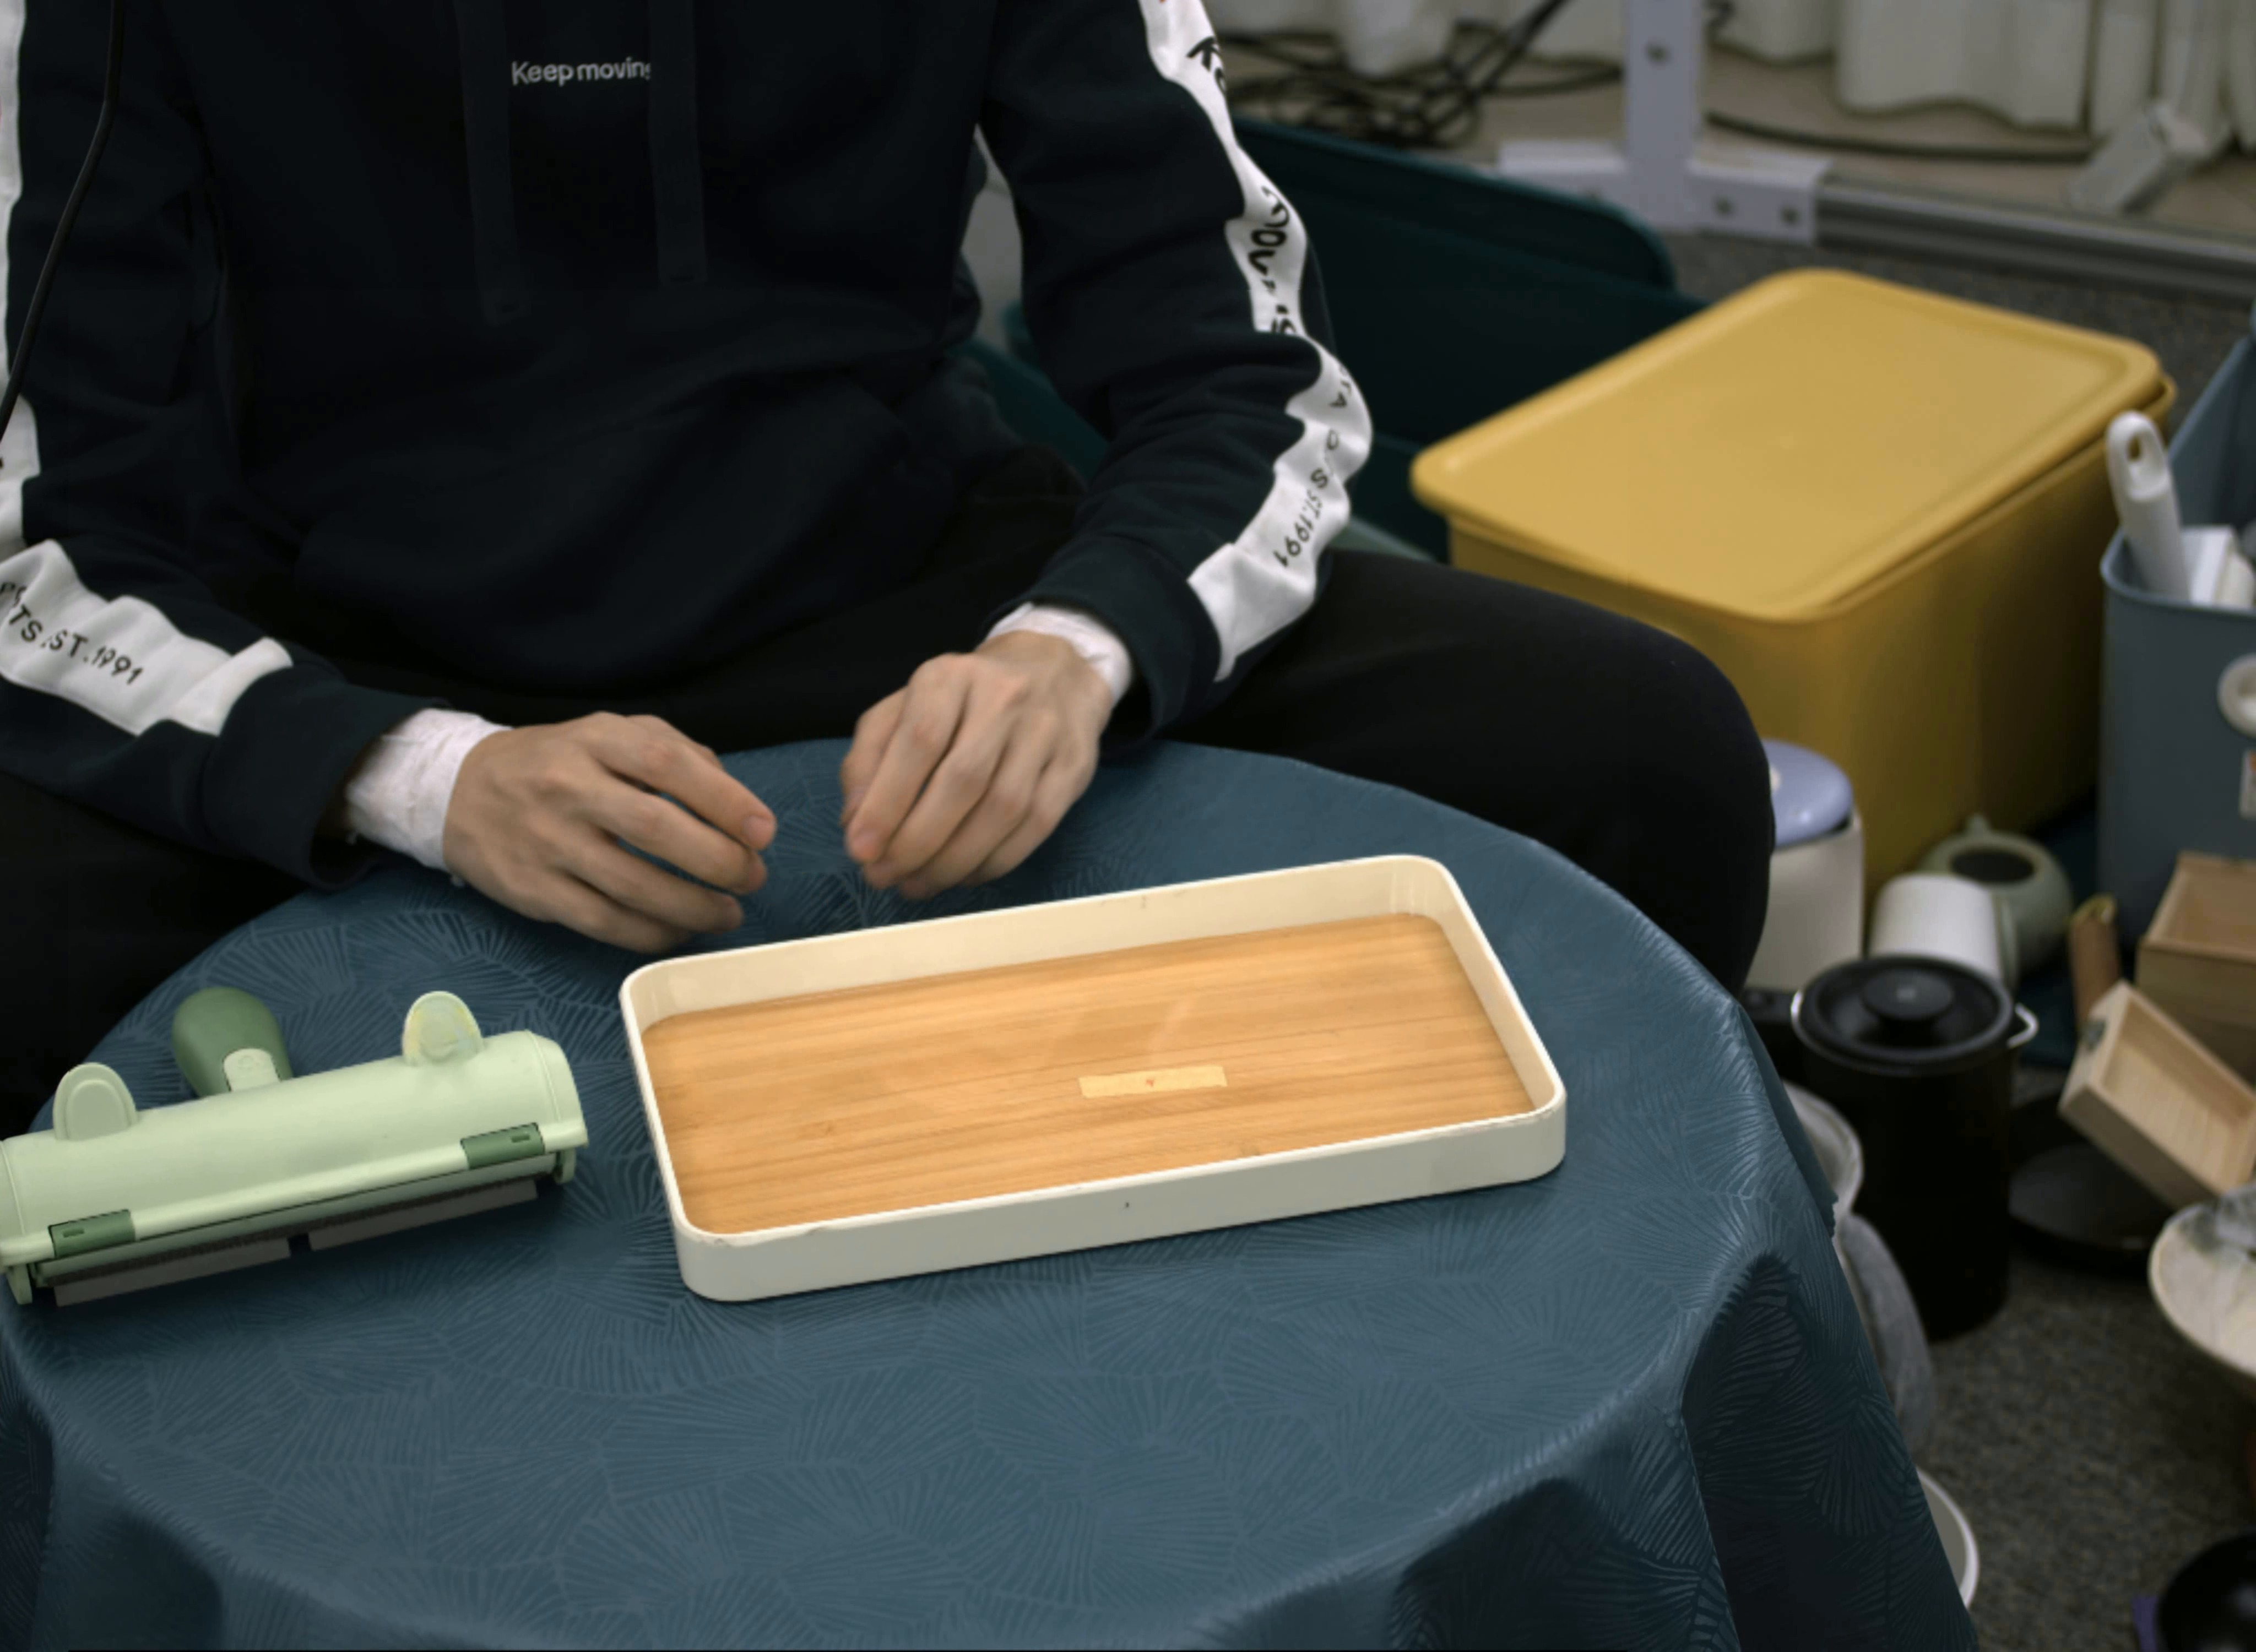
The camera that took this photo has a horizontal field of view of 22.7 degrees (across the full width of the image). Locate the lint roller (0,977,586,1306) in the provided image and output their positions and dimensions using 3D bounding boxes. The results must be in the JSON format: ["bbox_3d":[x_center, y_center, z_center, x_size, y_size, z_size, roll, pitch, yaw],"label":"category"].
[{"bbox_3d":[-0.297,0.079,1.888,0.199,0.081,0.185,-12,33,-16],"label":"lint roller"}]

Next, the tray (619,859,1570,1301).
[{"bbox_3d":[-0.015,0.083,1.907,0.300,0.027,0.194,-8,27,-9],"label":"tray"}]
